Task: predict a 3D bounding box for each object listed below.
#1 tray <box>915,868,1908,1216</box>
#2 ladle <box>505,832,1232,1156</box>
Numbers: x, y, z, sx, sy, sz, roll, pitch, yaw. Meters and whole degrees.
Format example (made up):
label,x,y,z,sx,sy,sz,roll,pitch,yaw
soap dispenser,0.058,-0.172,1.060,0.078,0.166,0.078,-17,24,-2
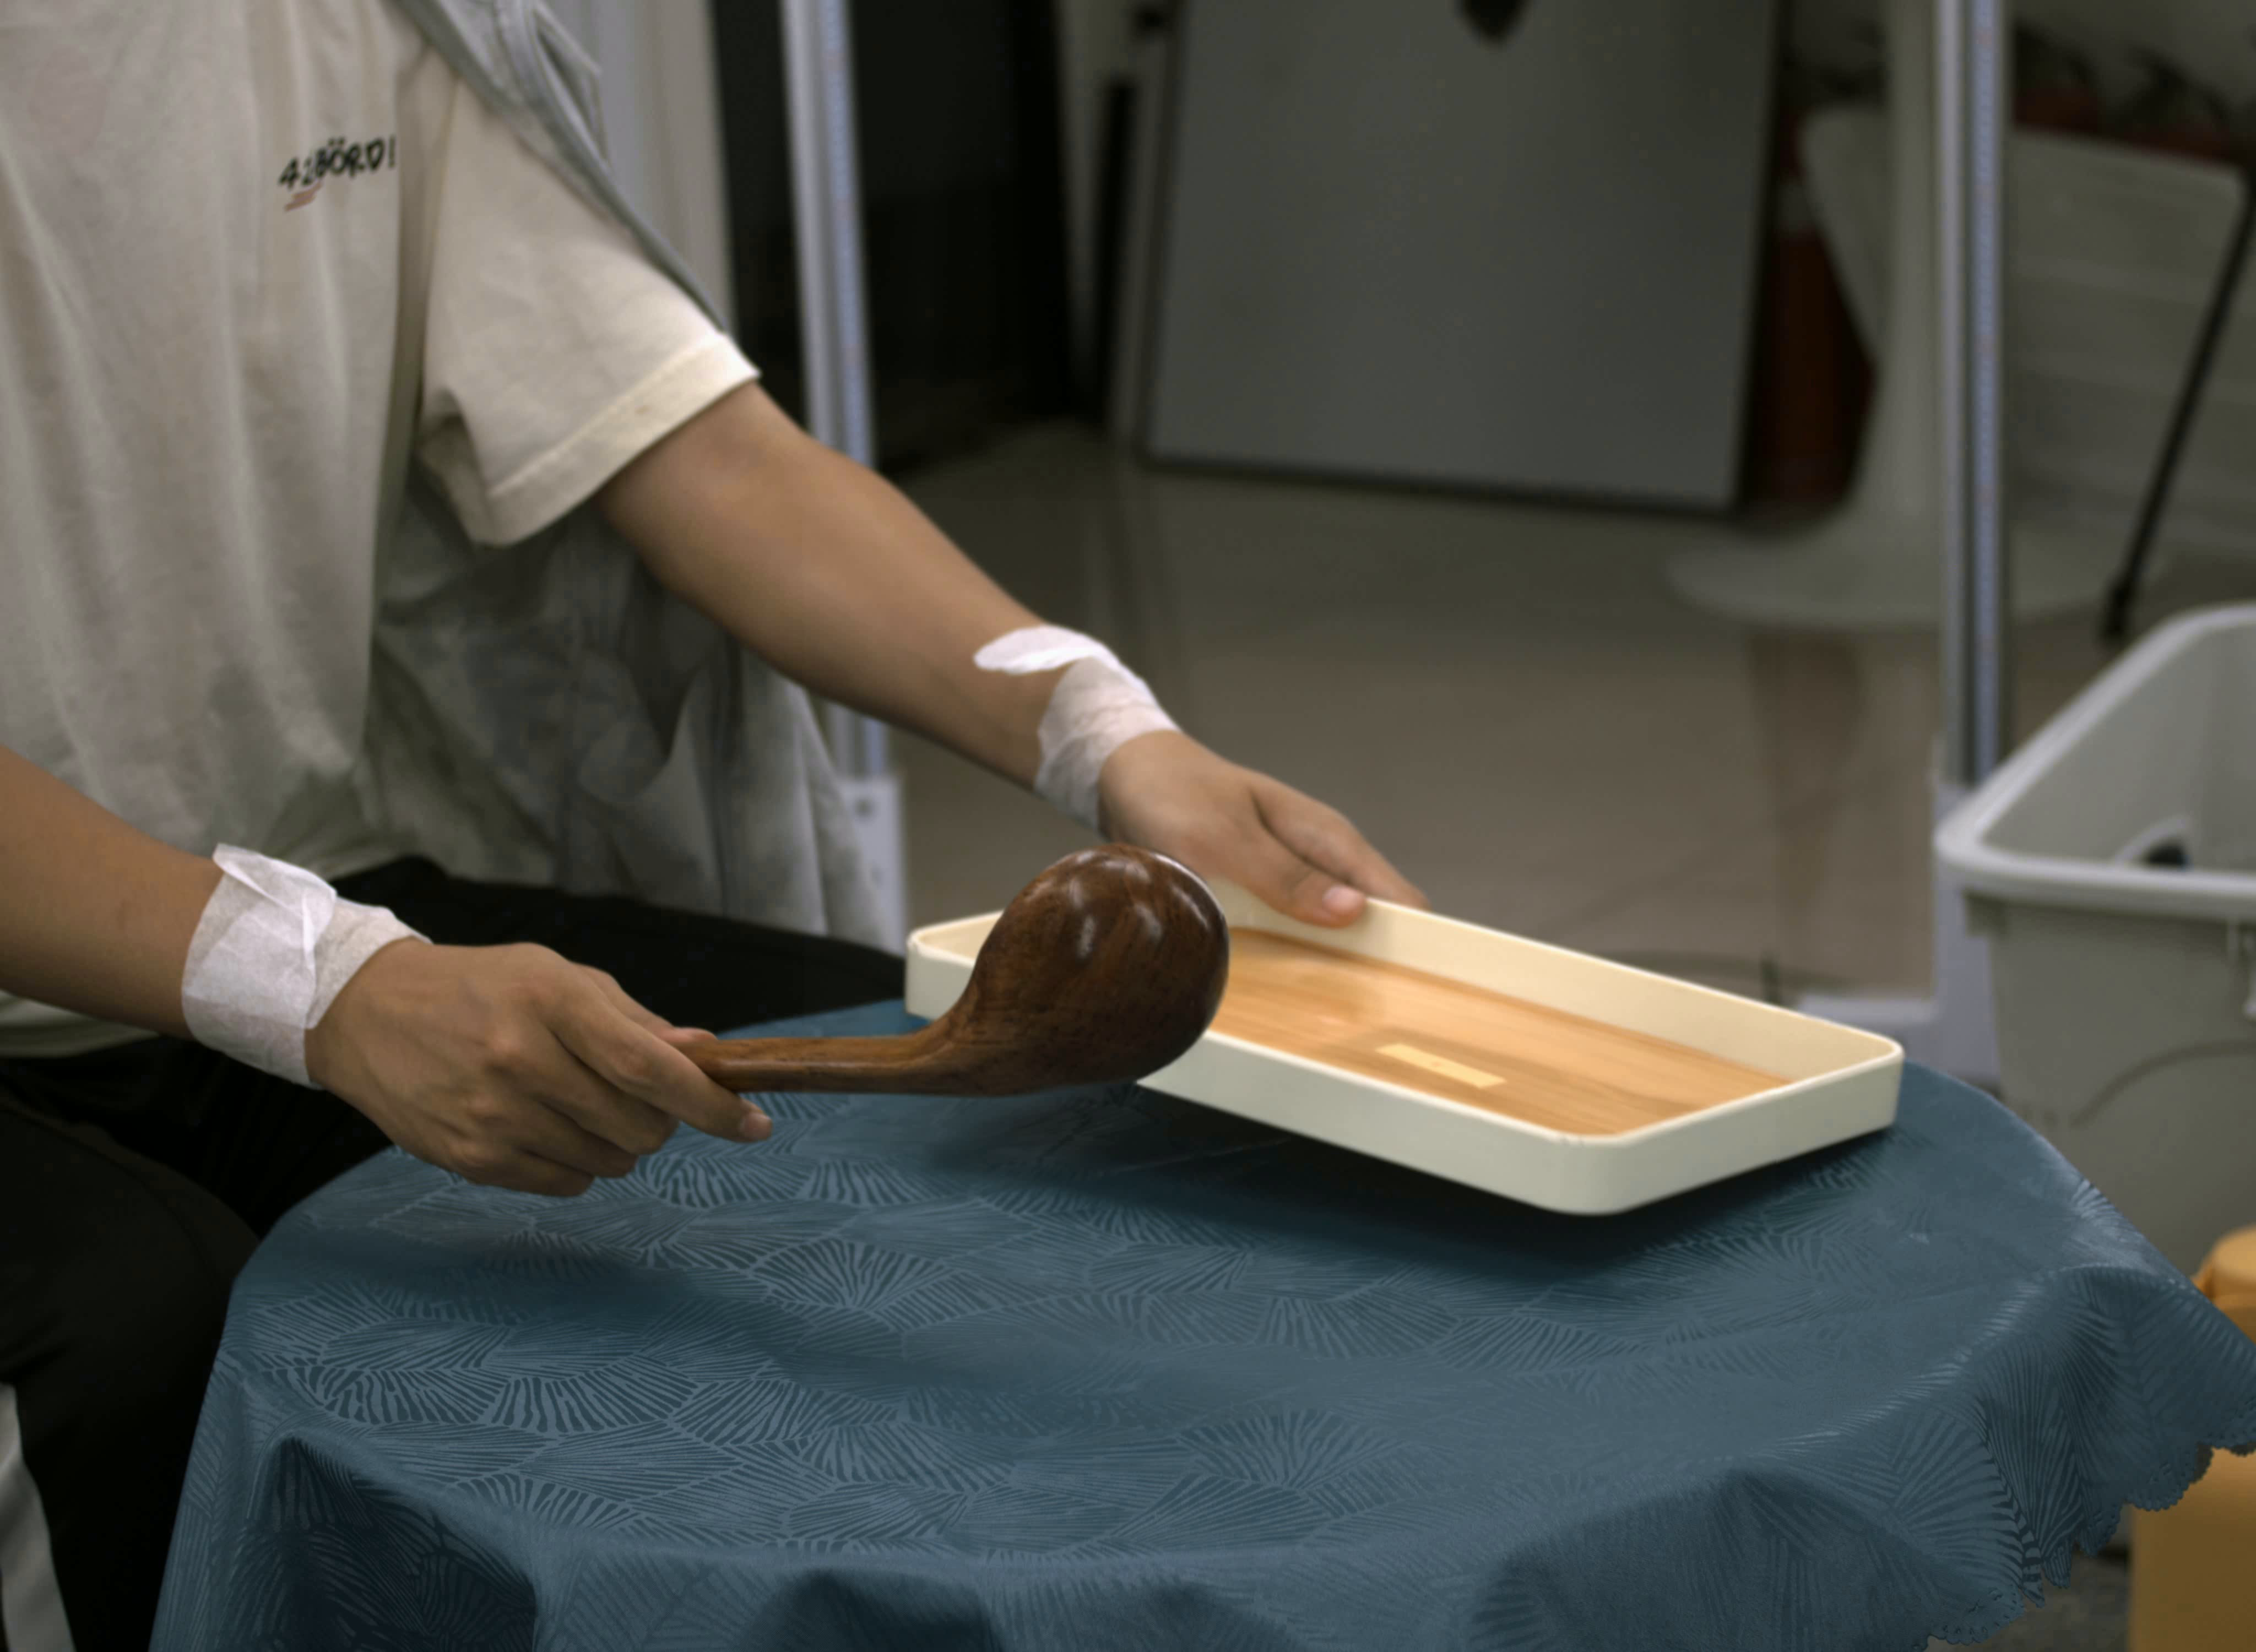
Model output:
label,x,y,z,sx,sy,sz,roll,pitch,yaw
tray,0.092,0.069,1.805,0.303,0.028,0.187,15,18,40
ladle,-0.086,0.055,1.683,0.276,0.081,0.076,-8,44,42
